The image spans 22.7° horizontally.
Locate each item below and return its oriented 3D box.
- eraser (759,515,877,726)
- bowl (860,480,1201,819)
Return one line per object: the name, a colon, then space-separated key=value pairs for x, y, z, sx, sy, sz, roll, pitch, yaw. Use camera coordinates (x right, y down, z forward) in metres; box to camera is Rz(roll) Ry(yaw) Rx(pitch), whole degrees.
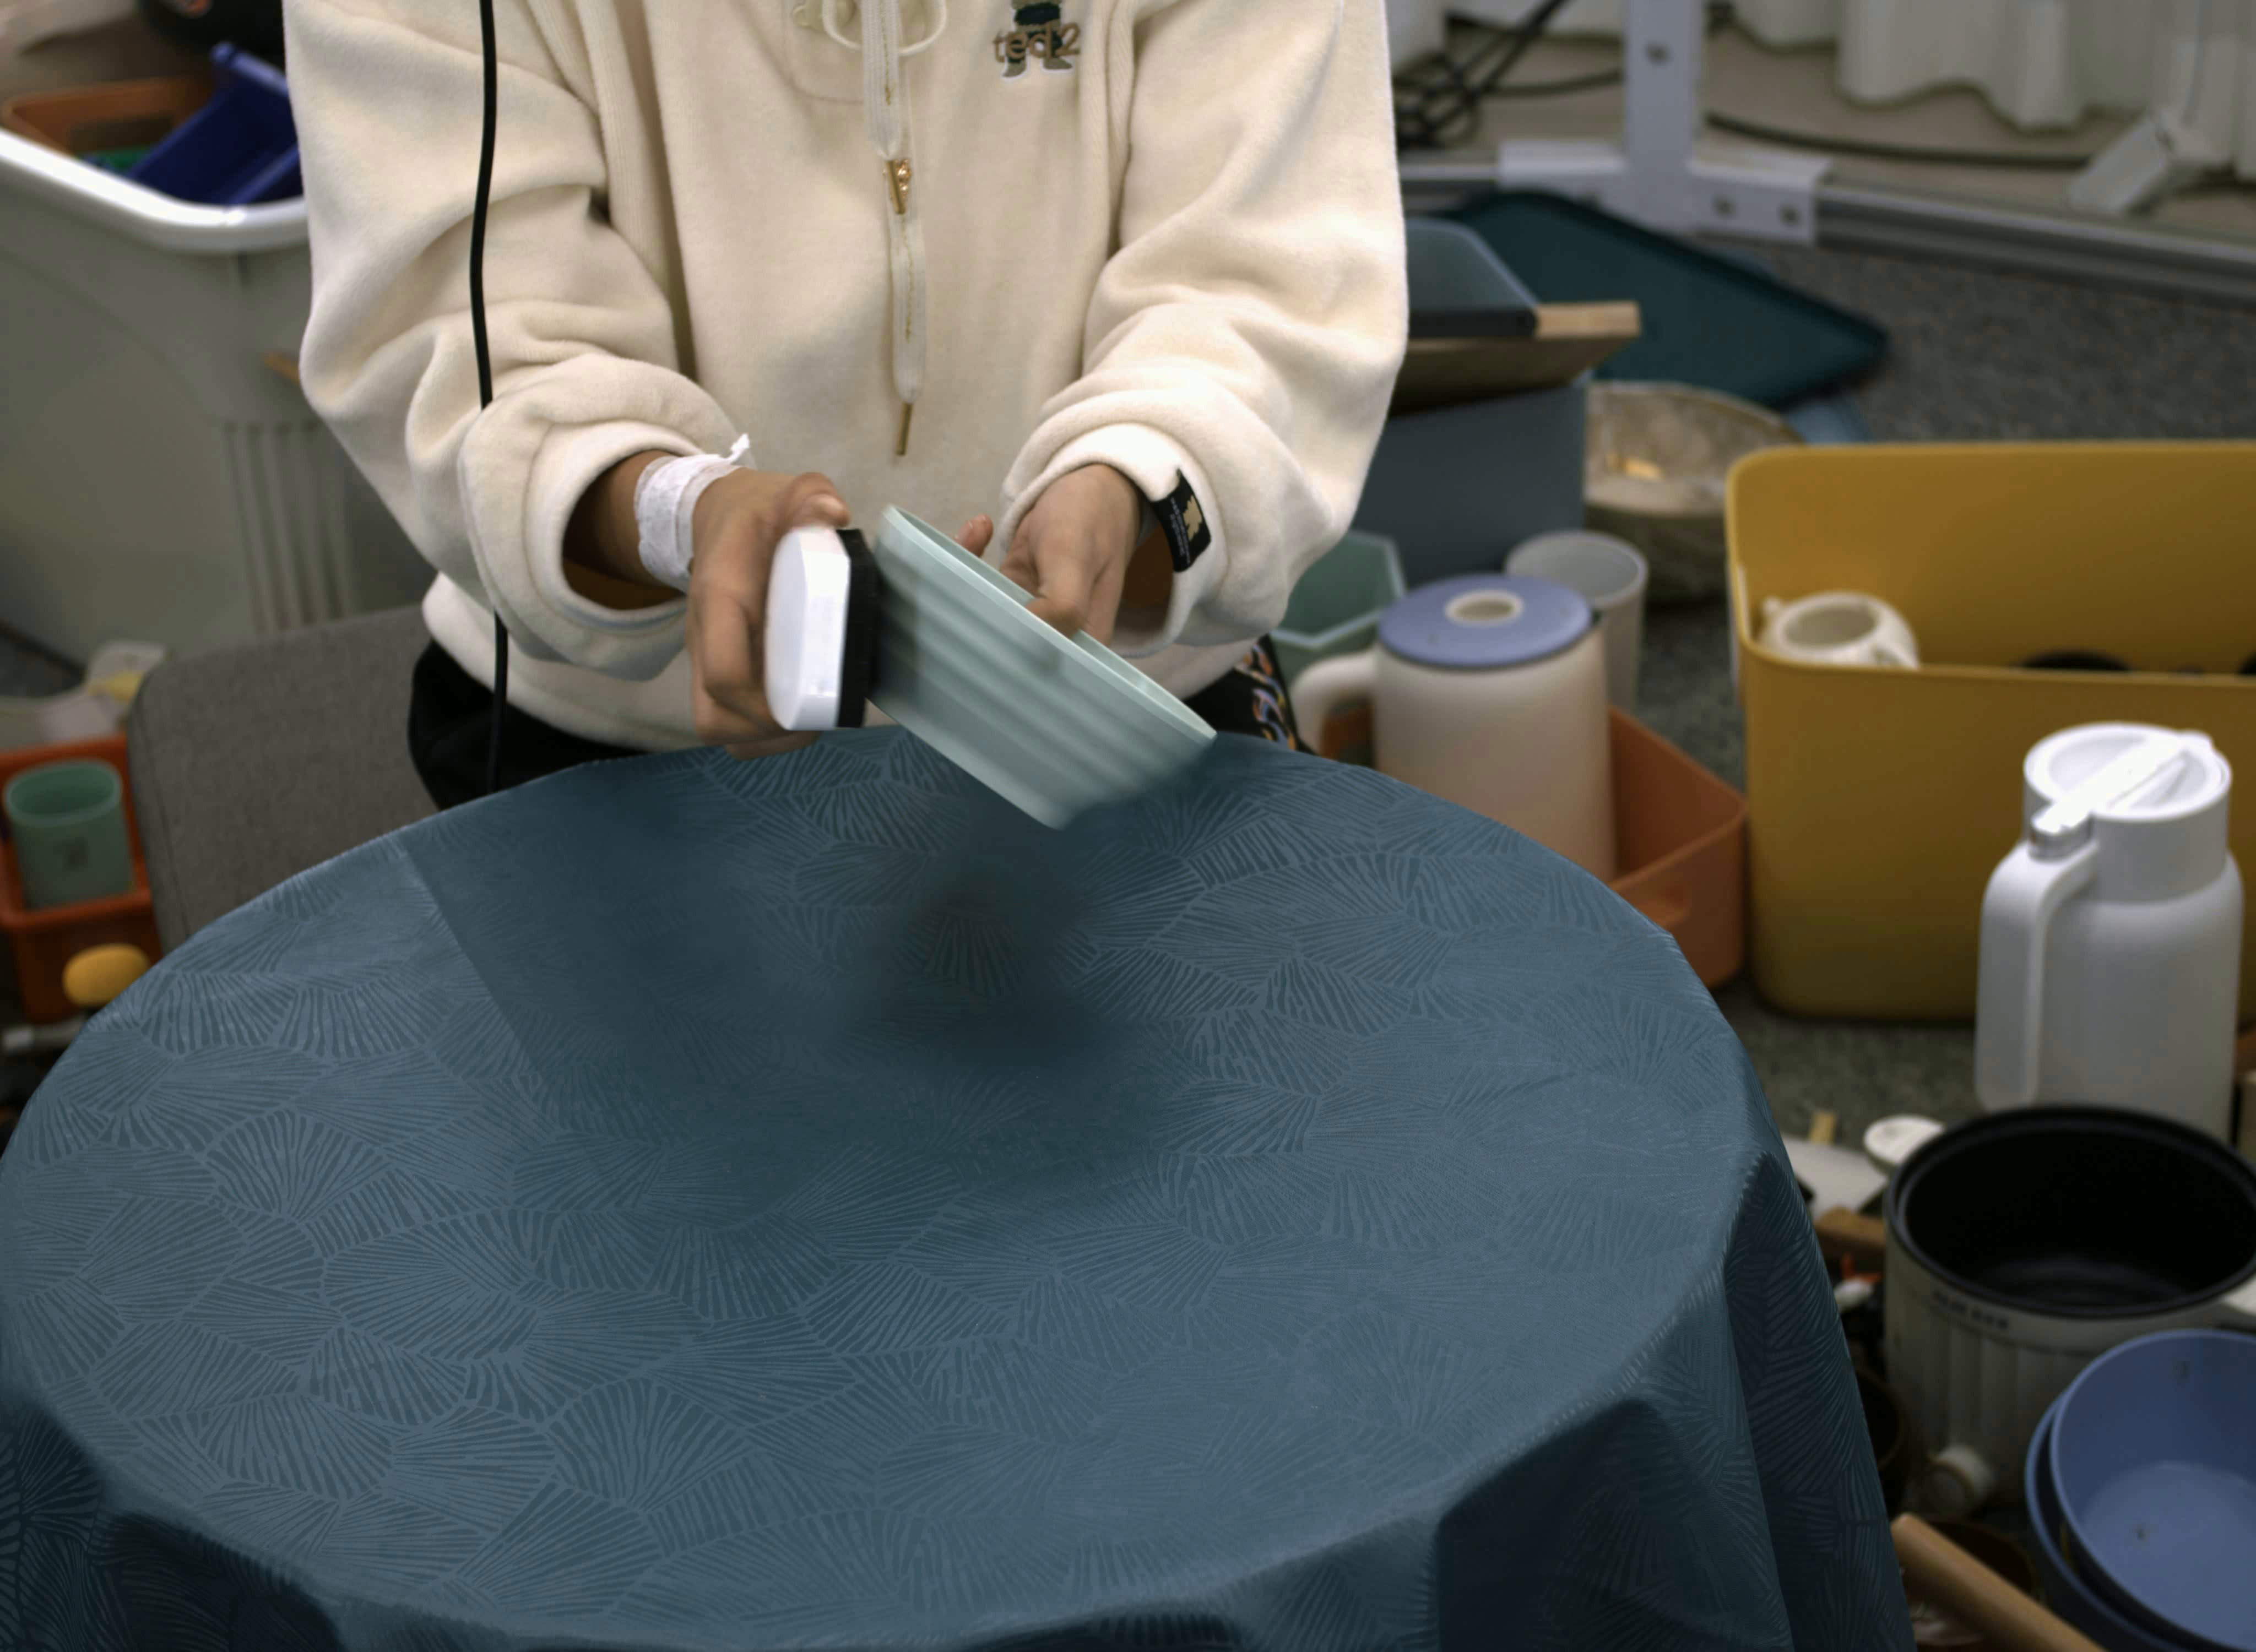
eraser: x=-0.106 y=-0.070 z=1.895 sx=0.034 sy=0.063 sz=0.131 roll=5 pitch=7 yaw=-6
bowl: x=-0.045 y=-0.052 z=1.922 sx=0.058 sy=0.150 sz=0.152 roll=-50 pitch=34 yaw=5
